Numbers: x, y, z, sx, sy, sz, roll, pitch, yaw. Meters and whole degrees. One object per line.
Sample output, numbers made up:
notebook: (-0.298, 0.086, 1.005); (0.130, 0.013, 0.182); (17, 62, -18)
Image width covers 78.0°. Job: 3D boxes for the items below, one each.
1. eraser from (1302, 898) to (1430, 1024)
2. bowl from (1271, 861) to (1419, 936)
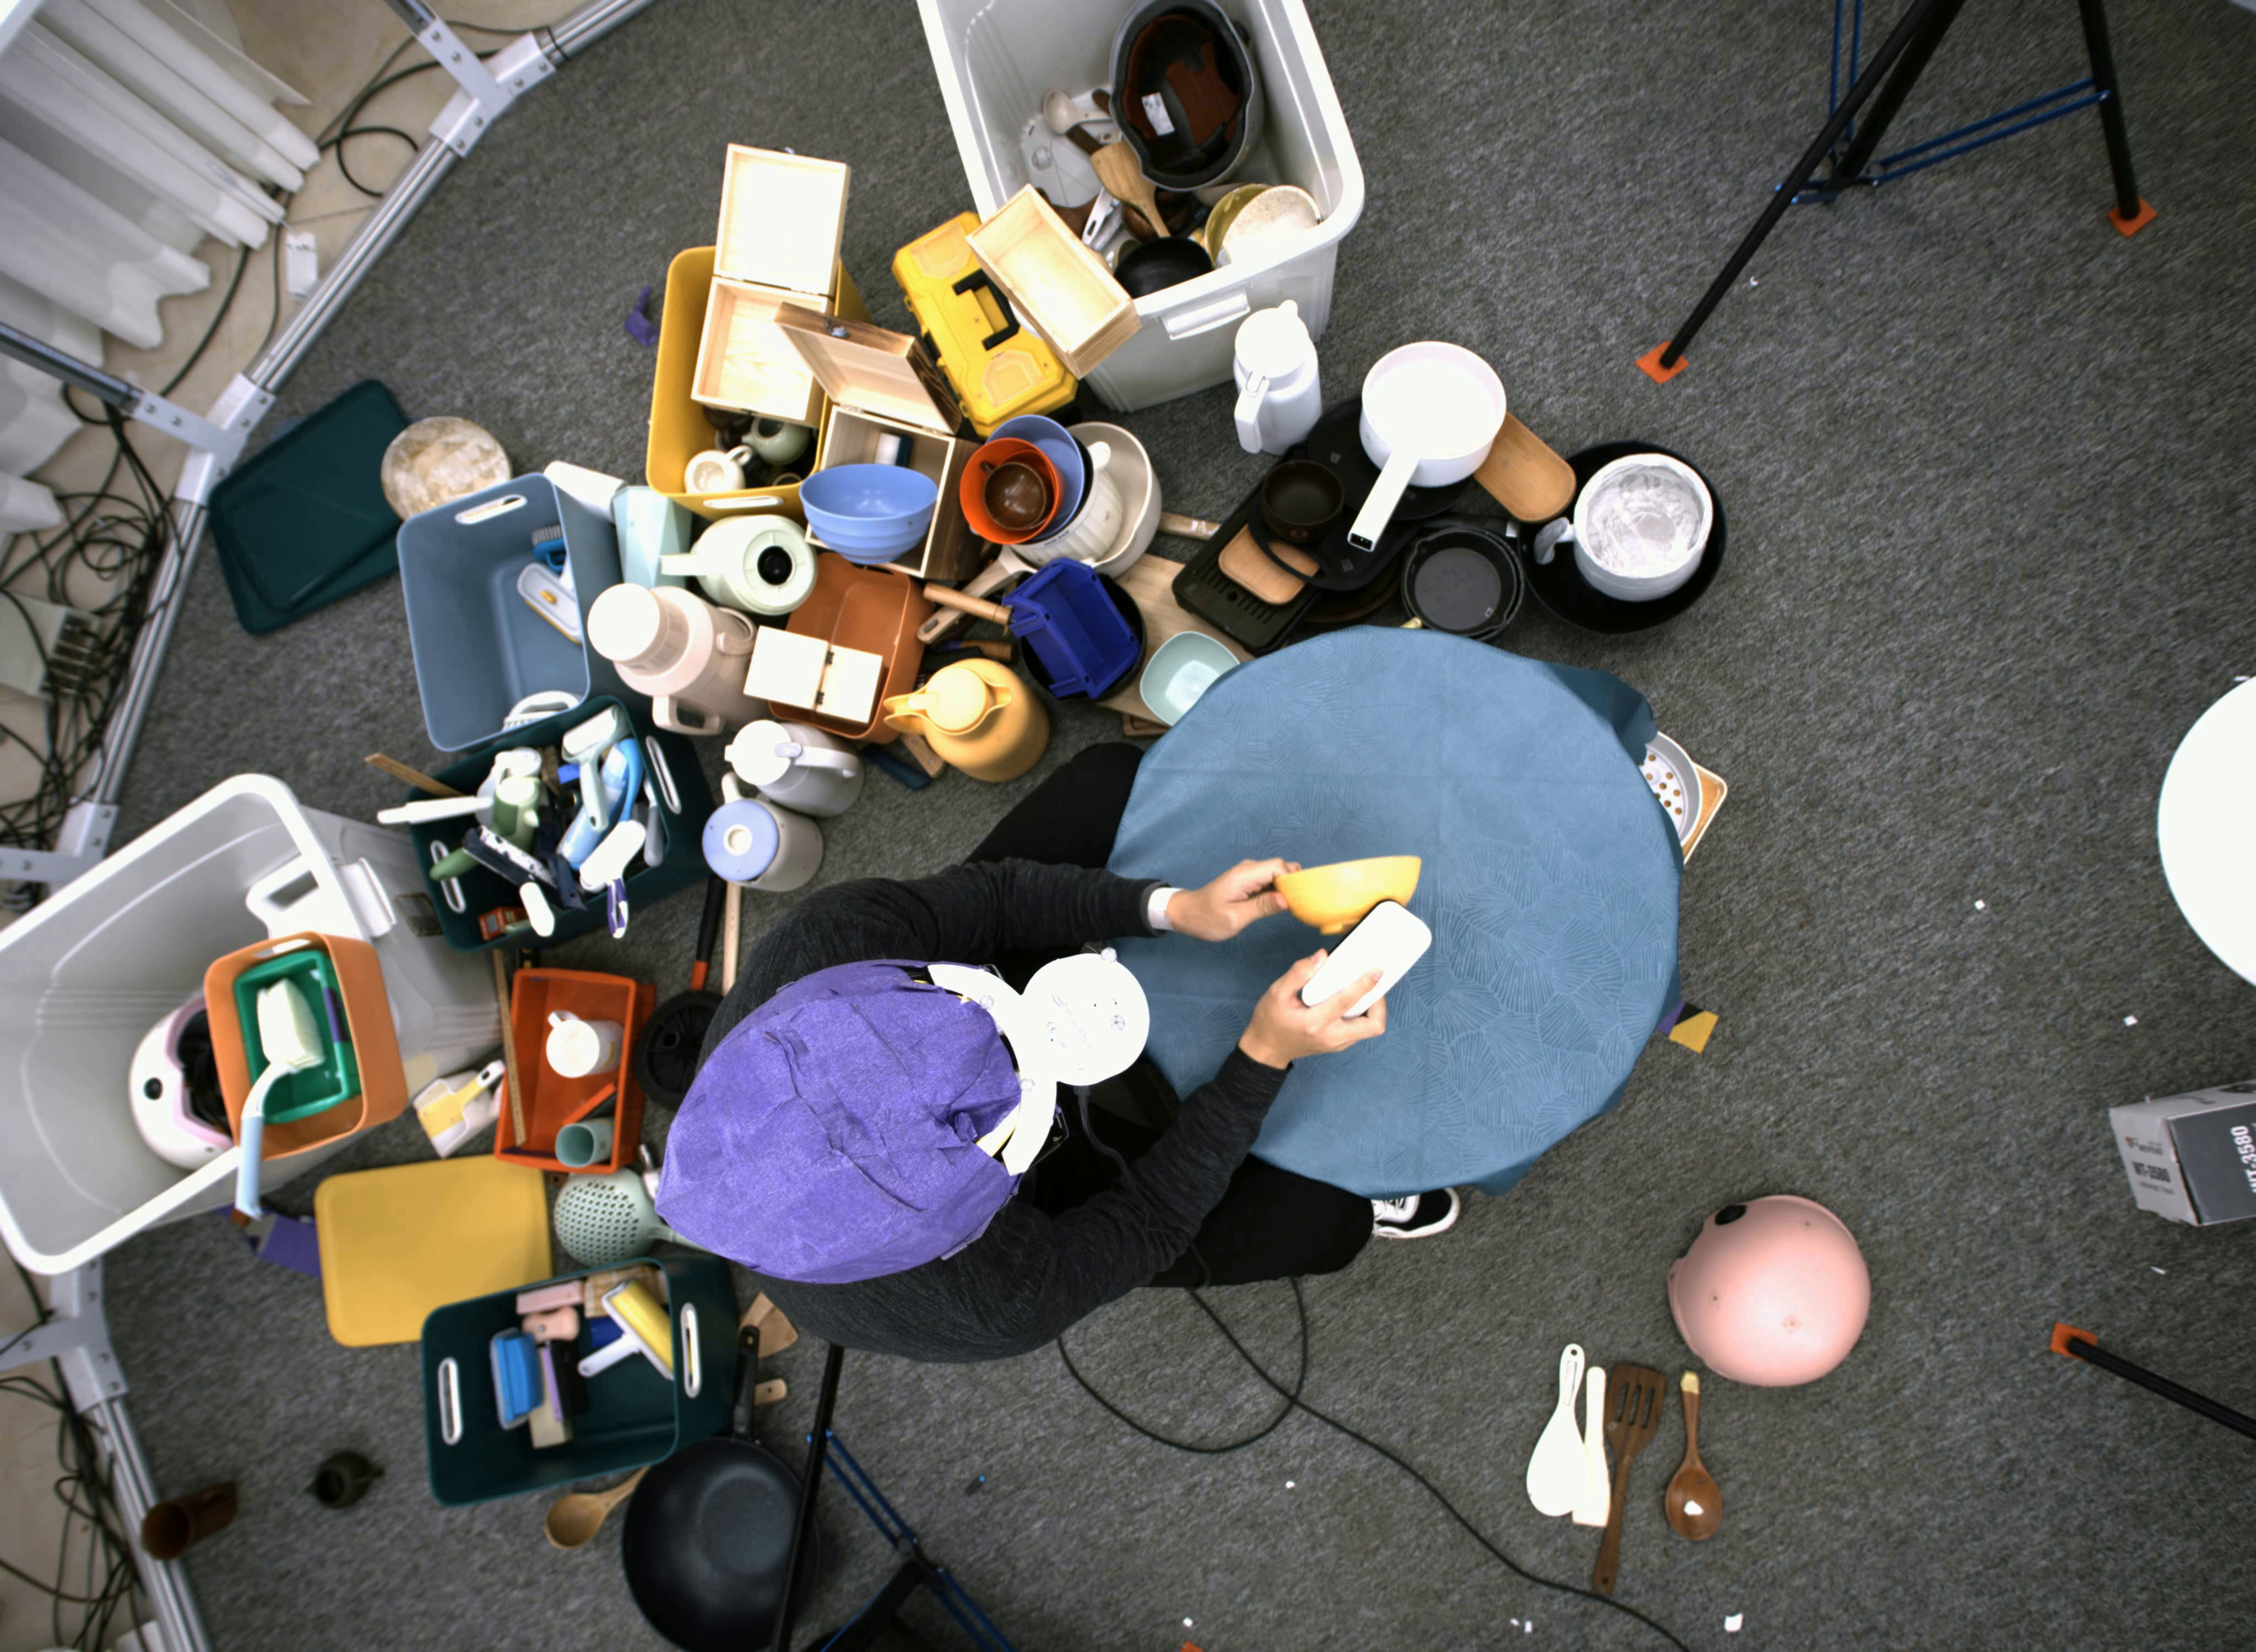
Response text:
eraser: (0.220, 0.126, 1.294); (0.064, 0.034, 0.133); (33, 113, -17)
bowl: (0.213, 0.072, 1.334); (0.146, 0.145, 0.060); (-8, 83, 9)
